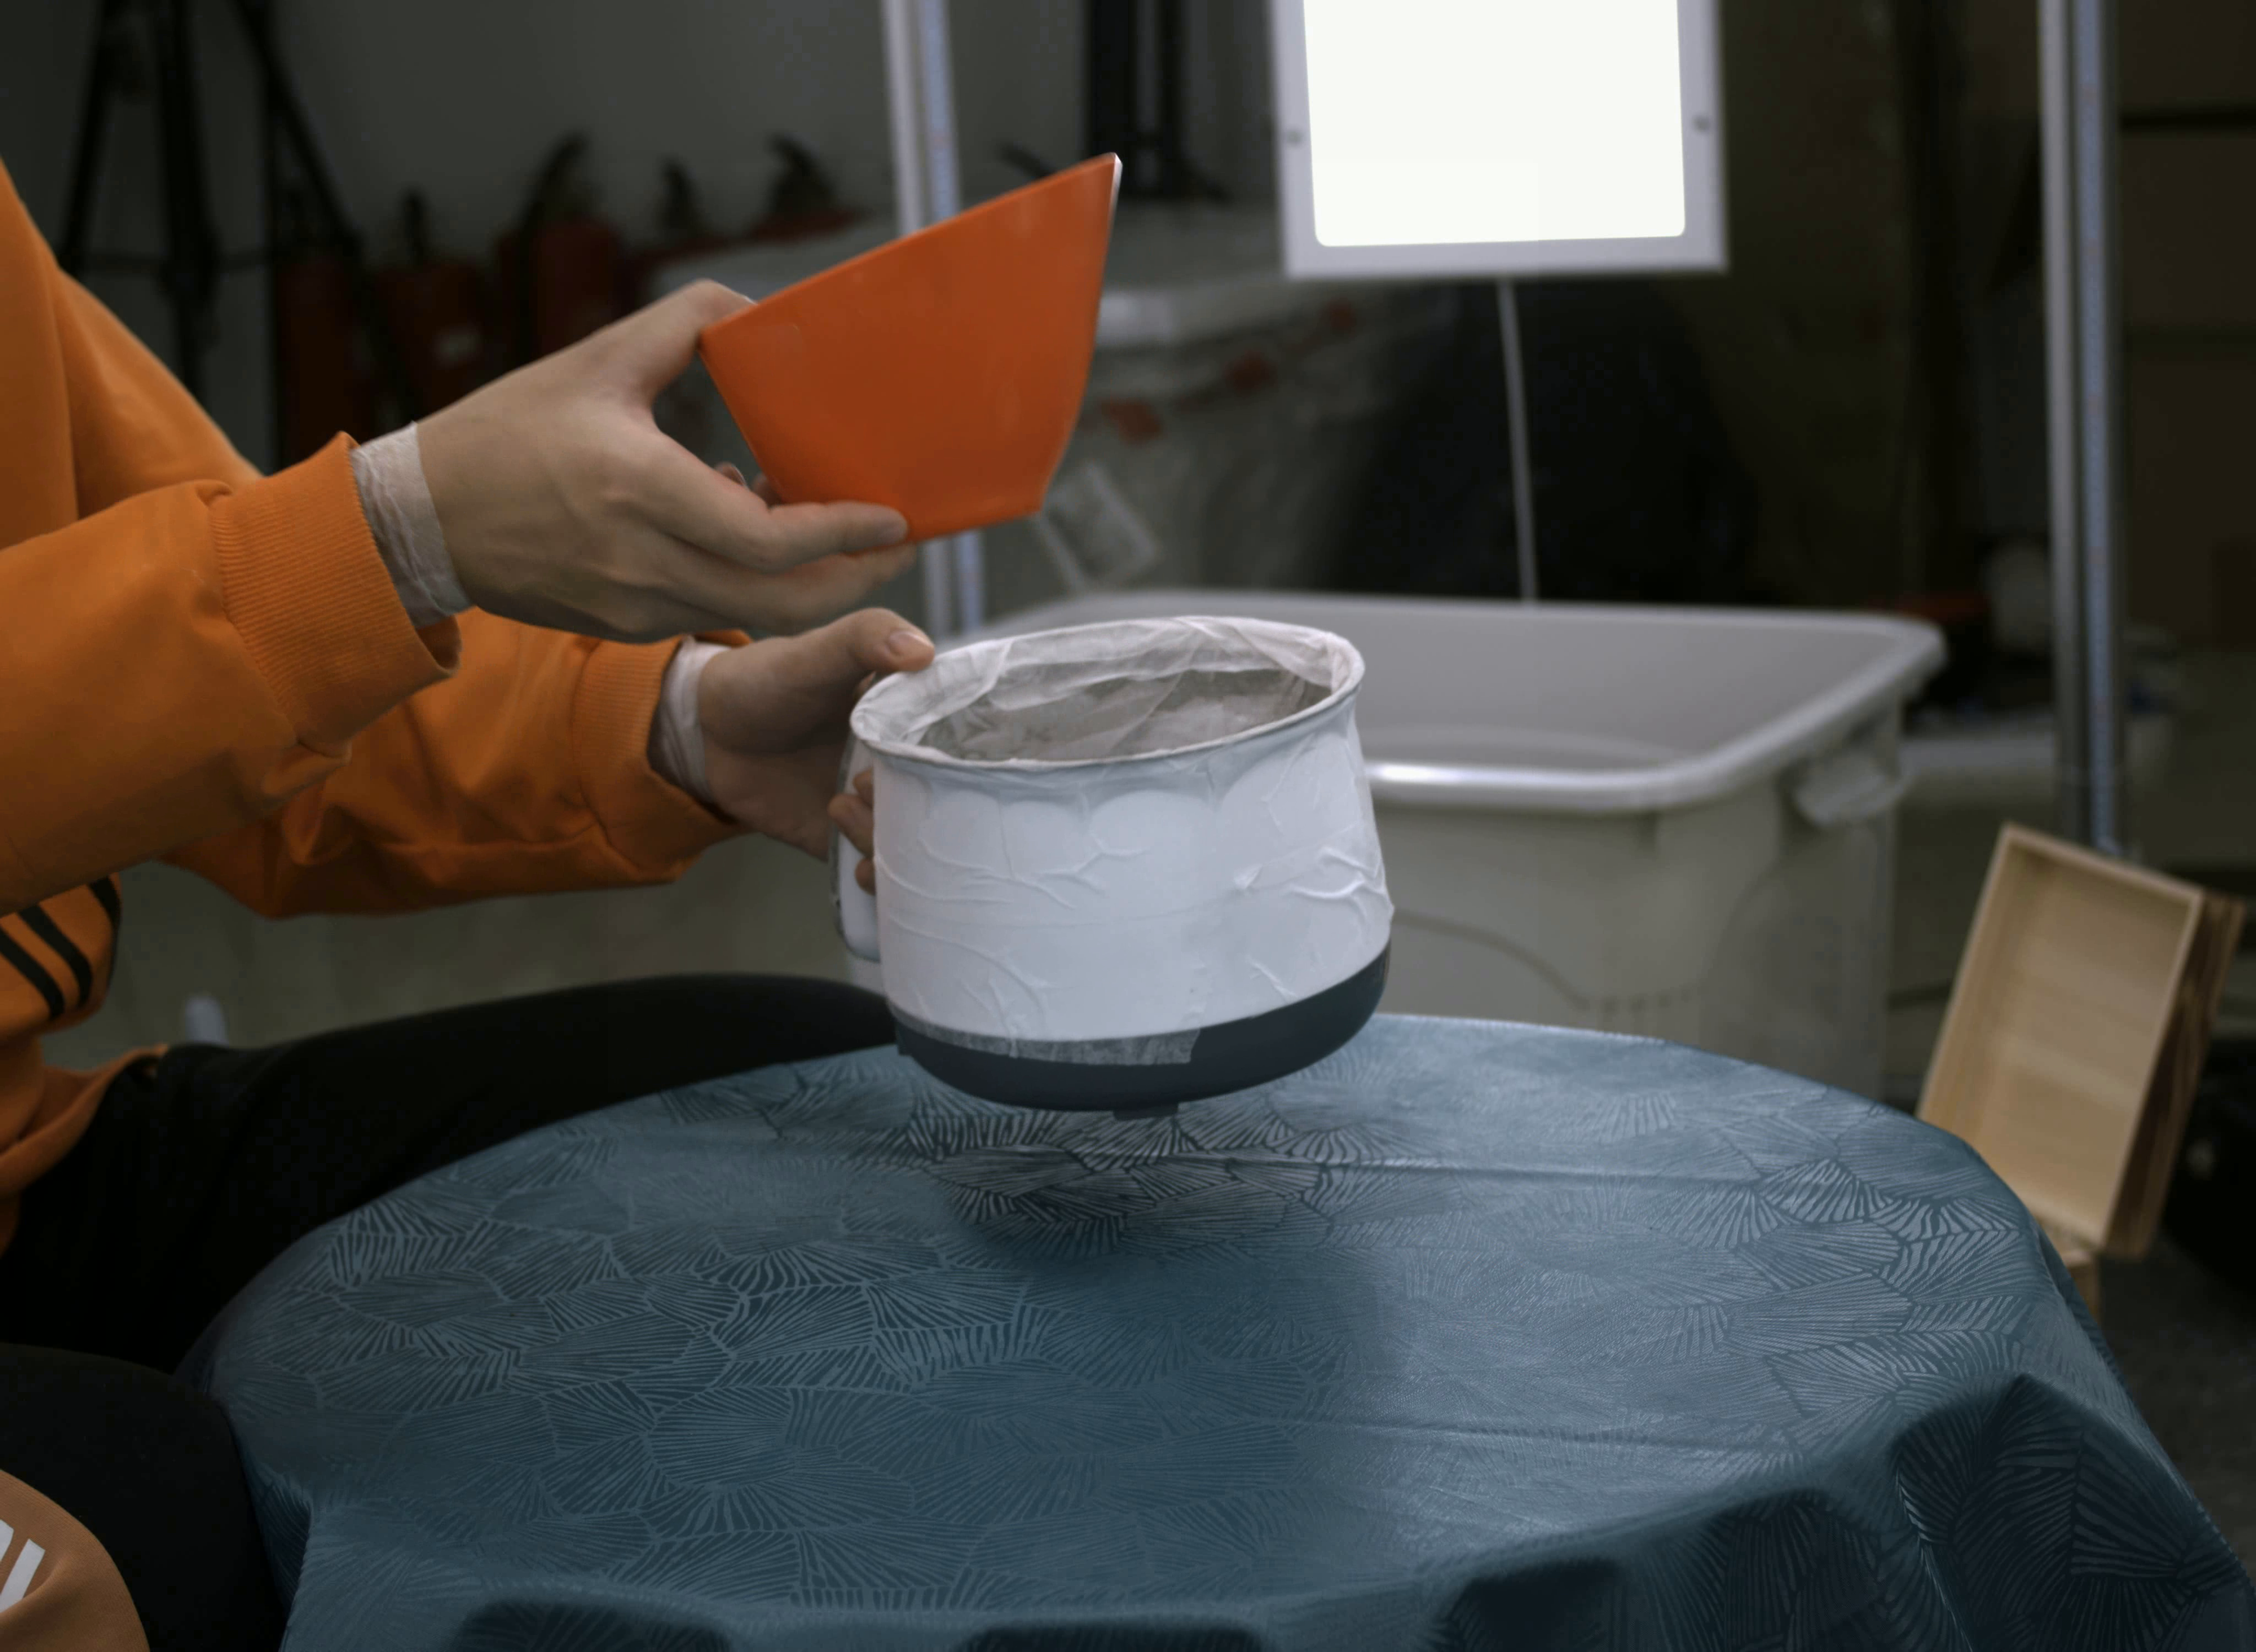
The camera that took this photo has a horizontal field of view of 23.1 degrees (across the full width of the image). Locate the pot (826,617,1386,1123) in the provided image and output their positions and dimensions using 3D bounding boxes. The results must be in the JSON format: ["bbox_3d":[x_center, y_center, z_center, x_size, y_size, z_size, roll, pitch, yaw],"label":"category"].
[{"bbox_3d":[-0.022,0.011,1.909,0.239,0.137,0.174,10,23,44],"label":"pot"}]

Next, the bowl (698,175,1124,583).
[{"bbox_3d":[-0.059,-0.138,1.762,0.147,0.105,0.148,-15,1,-1],"label":"bowl"}]
